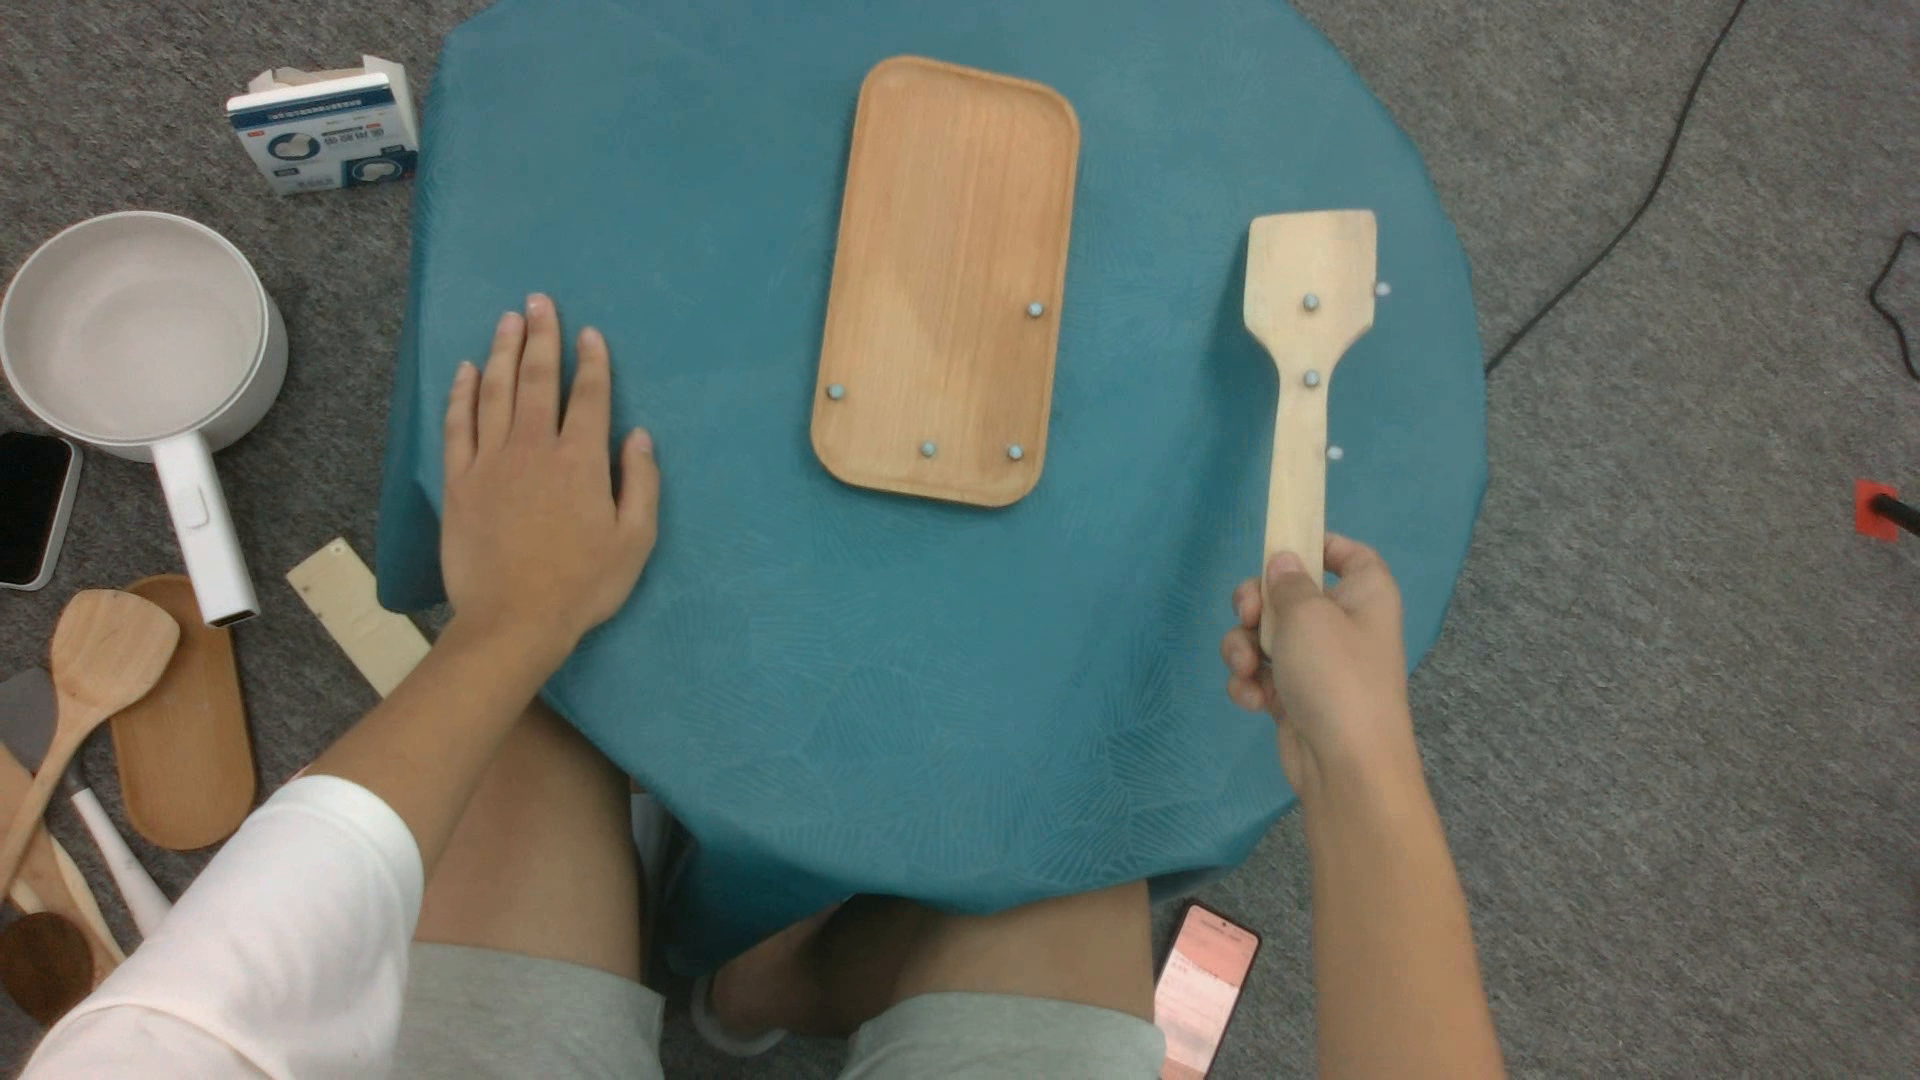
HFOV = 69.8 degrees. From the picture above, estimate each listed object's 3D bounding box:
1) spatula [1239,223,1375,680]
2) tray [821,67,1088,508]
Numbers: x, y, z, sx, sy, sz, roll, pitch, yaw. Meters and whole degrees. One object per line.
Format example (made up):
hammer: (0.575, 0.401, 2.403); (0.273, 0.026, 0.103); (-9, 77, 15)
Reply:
spatula: (0.175, -0.057, 0.703); (0.072, 0.010, 0.294); (3, 56, 12)
tray: (-0.001, -0.144, 0.775); (0.130, 0.023, 0.251); (10, 76, -10)
